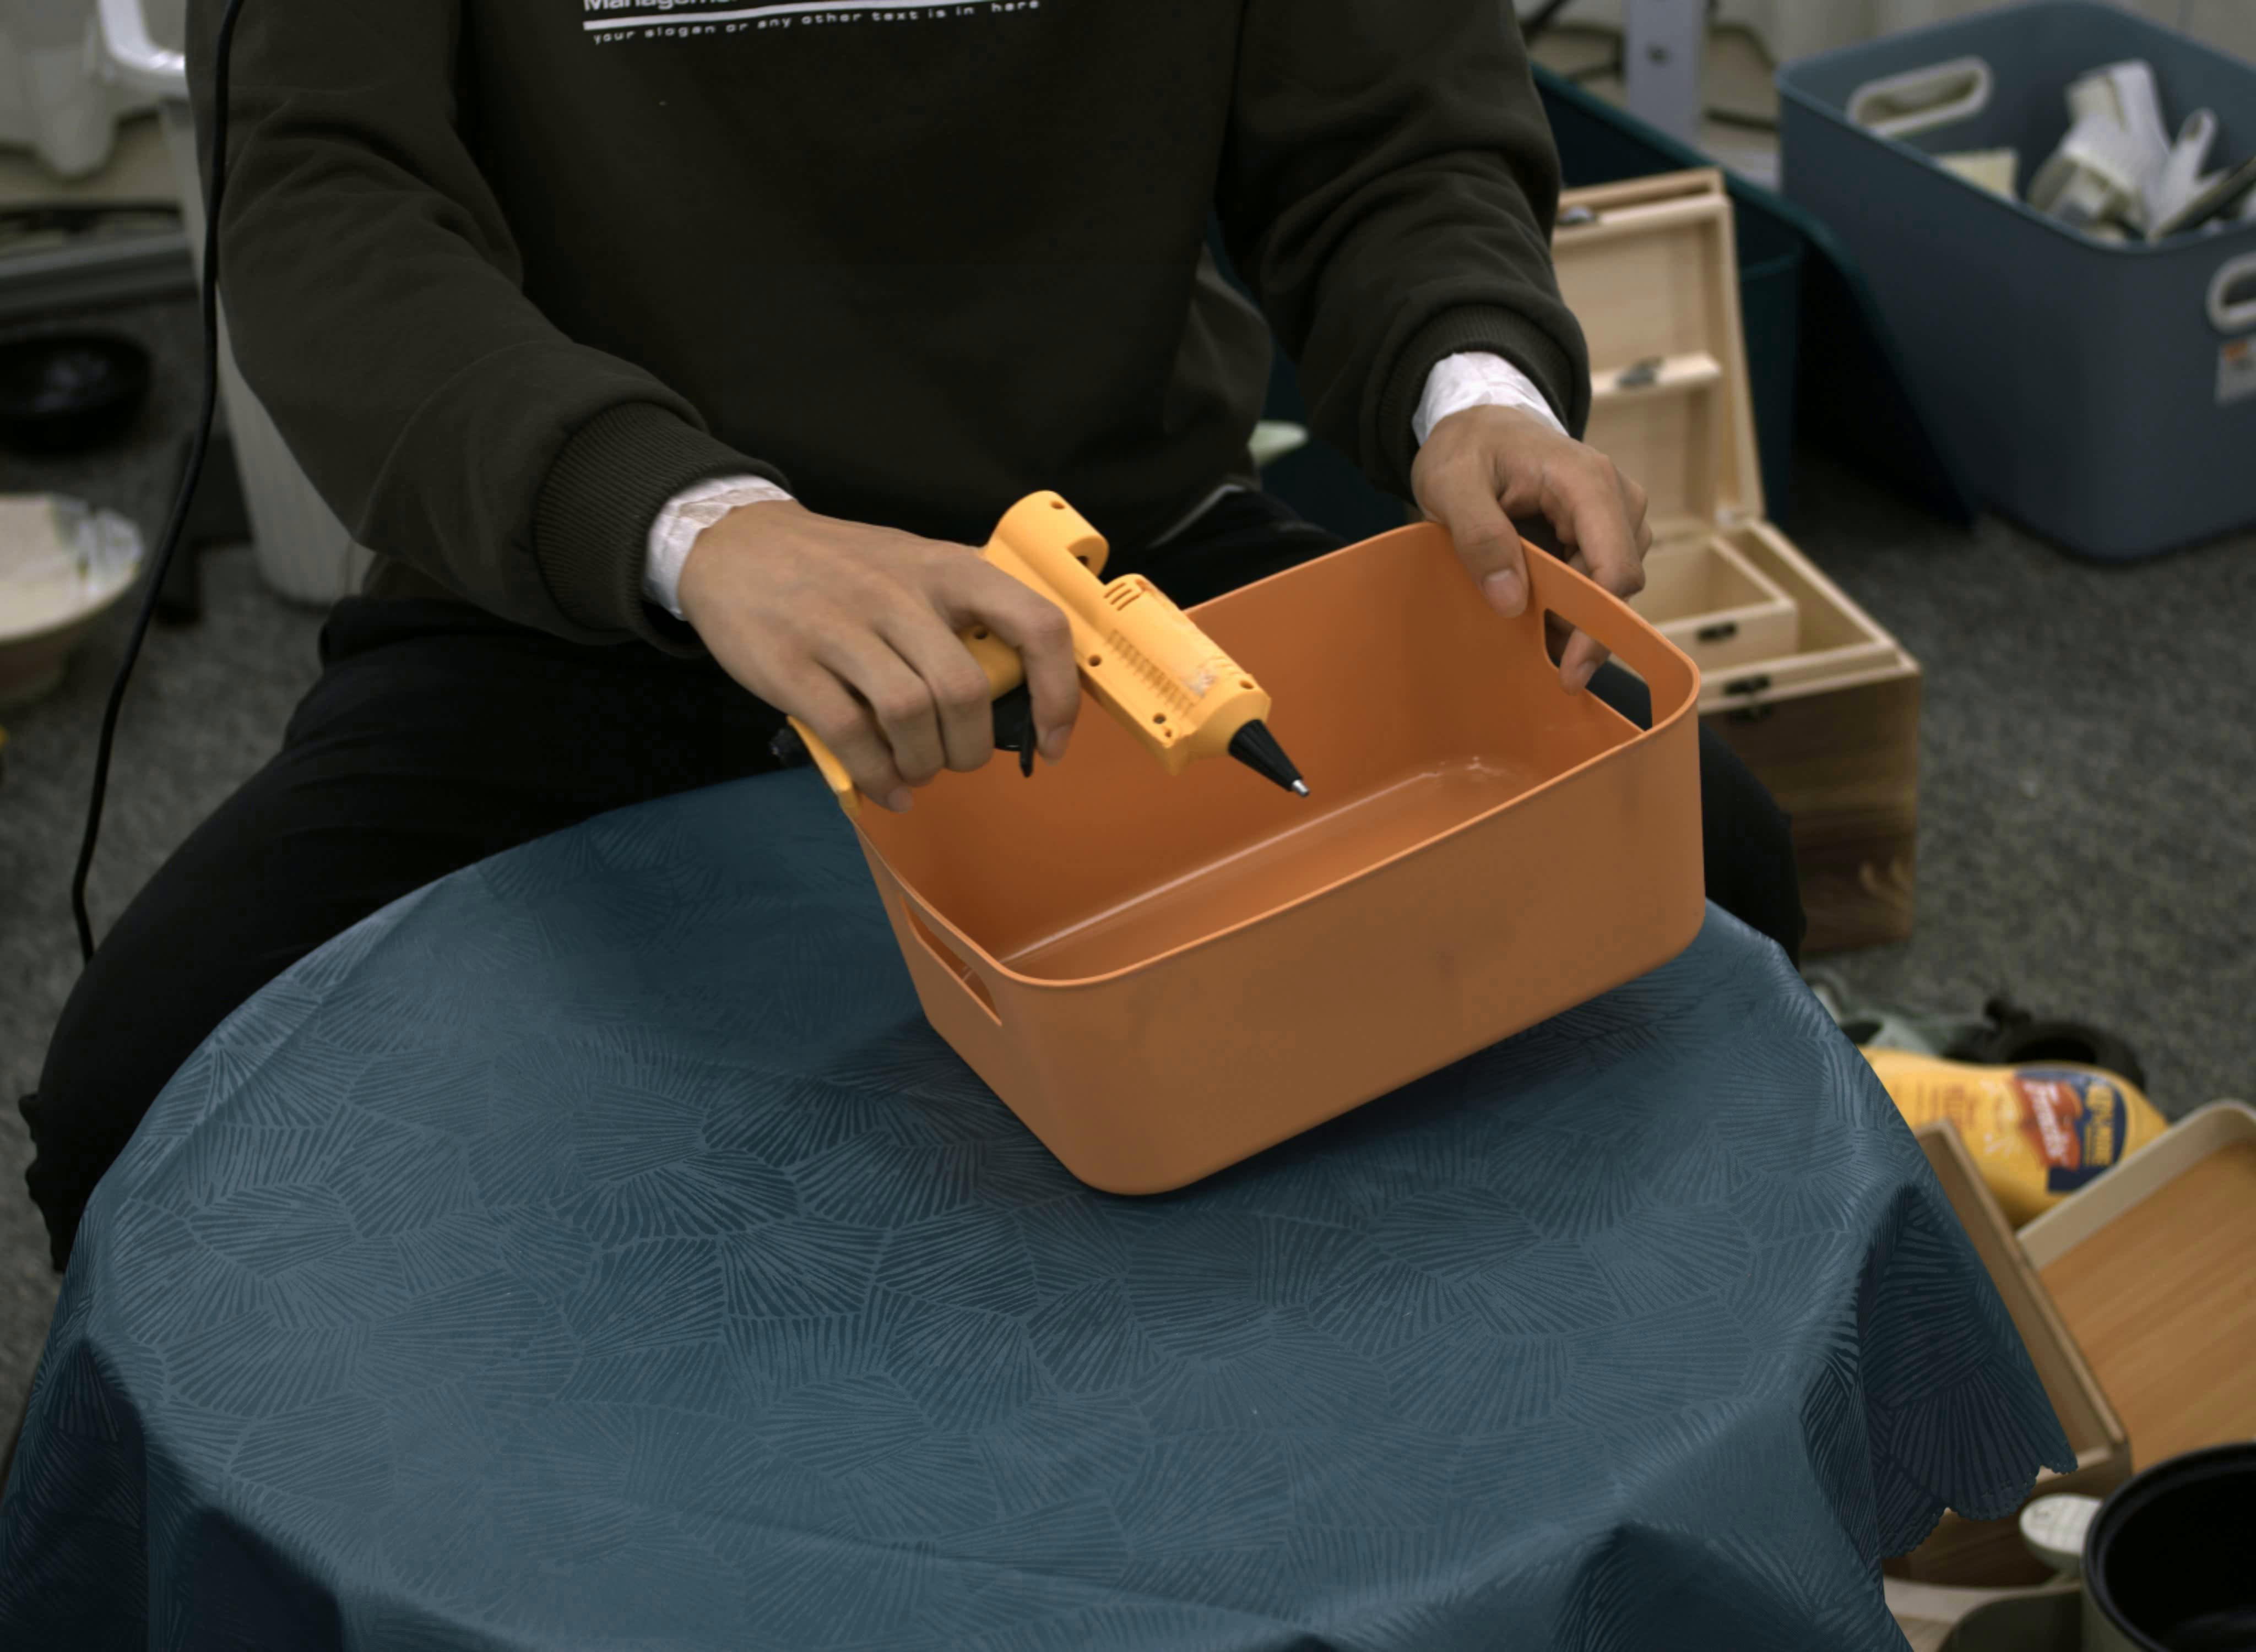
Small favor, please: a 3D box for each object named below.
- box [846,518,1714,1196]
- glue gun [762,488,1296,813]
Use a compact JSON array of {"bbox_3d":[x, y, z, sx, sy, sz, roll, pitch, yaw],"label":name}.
[{"bbox_3d":[0.057,0.011,1.933,0.275,0.101,0.200,-24,32,-18],"label":"box"},{"bbox_3d":[-0.025,-0.028,1.849,0.134,0.030,0.152,-42,62,-17],"label":"glue gun"}]
